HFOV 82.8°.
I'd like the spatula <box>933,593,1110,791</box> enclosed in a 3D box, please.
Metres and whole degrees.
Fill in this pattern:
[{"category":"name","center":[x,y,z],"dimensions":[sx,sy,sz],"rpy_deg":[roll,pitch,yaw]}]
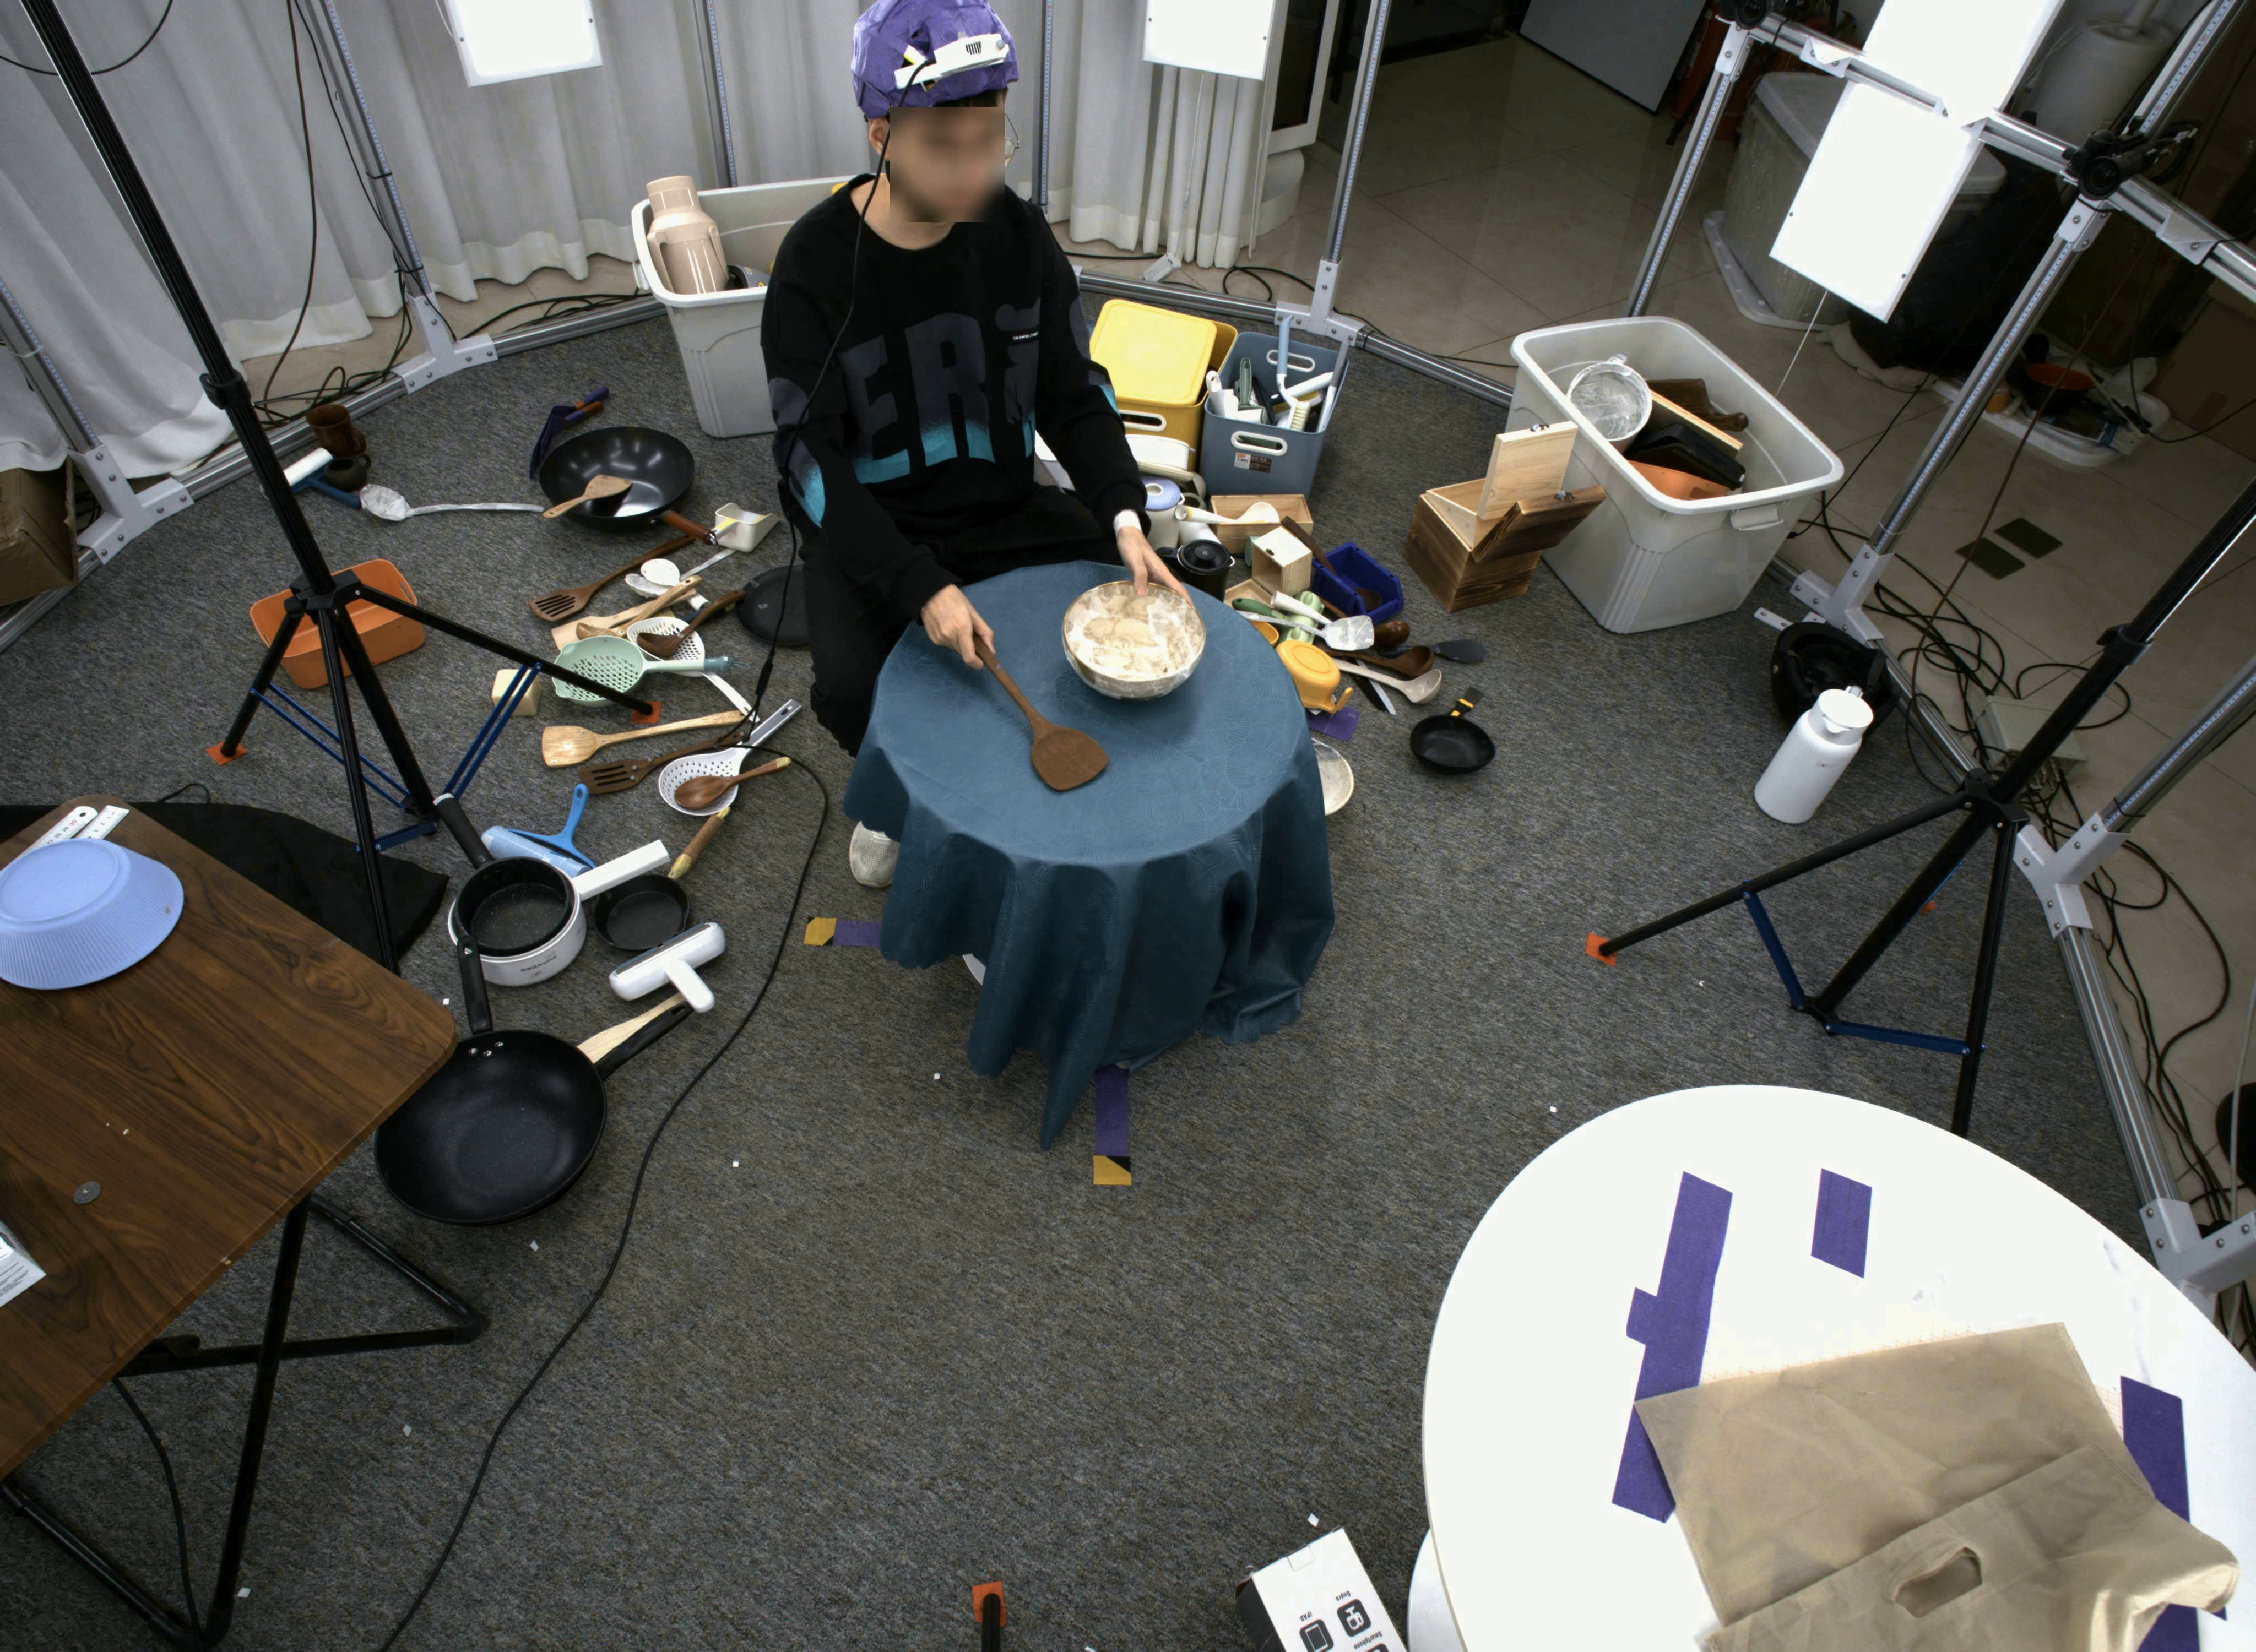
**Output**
[{"category":"spatula","center":[-0.166,-0.198,1.803],"dimensions":[0.096,0.015,0.392],"rpy_deg":[-29,66,-22]}]

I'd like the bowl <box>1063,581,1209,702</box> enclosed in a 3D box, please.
[{"category":"bowl","center":[0.010,-0.250,1.842],"dimensions":[0.214,0.092,0.220],"rpy_deg":[0,50,-1]}]
